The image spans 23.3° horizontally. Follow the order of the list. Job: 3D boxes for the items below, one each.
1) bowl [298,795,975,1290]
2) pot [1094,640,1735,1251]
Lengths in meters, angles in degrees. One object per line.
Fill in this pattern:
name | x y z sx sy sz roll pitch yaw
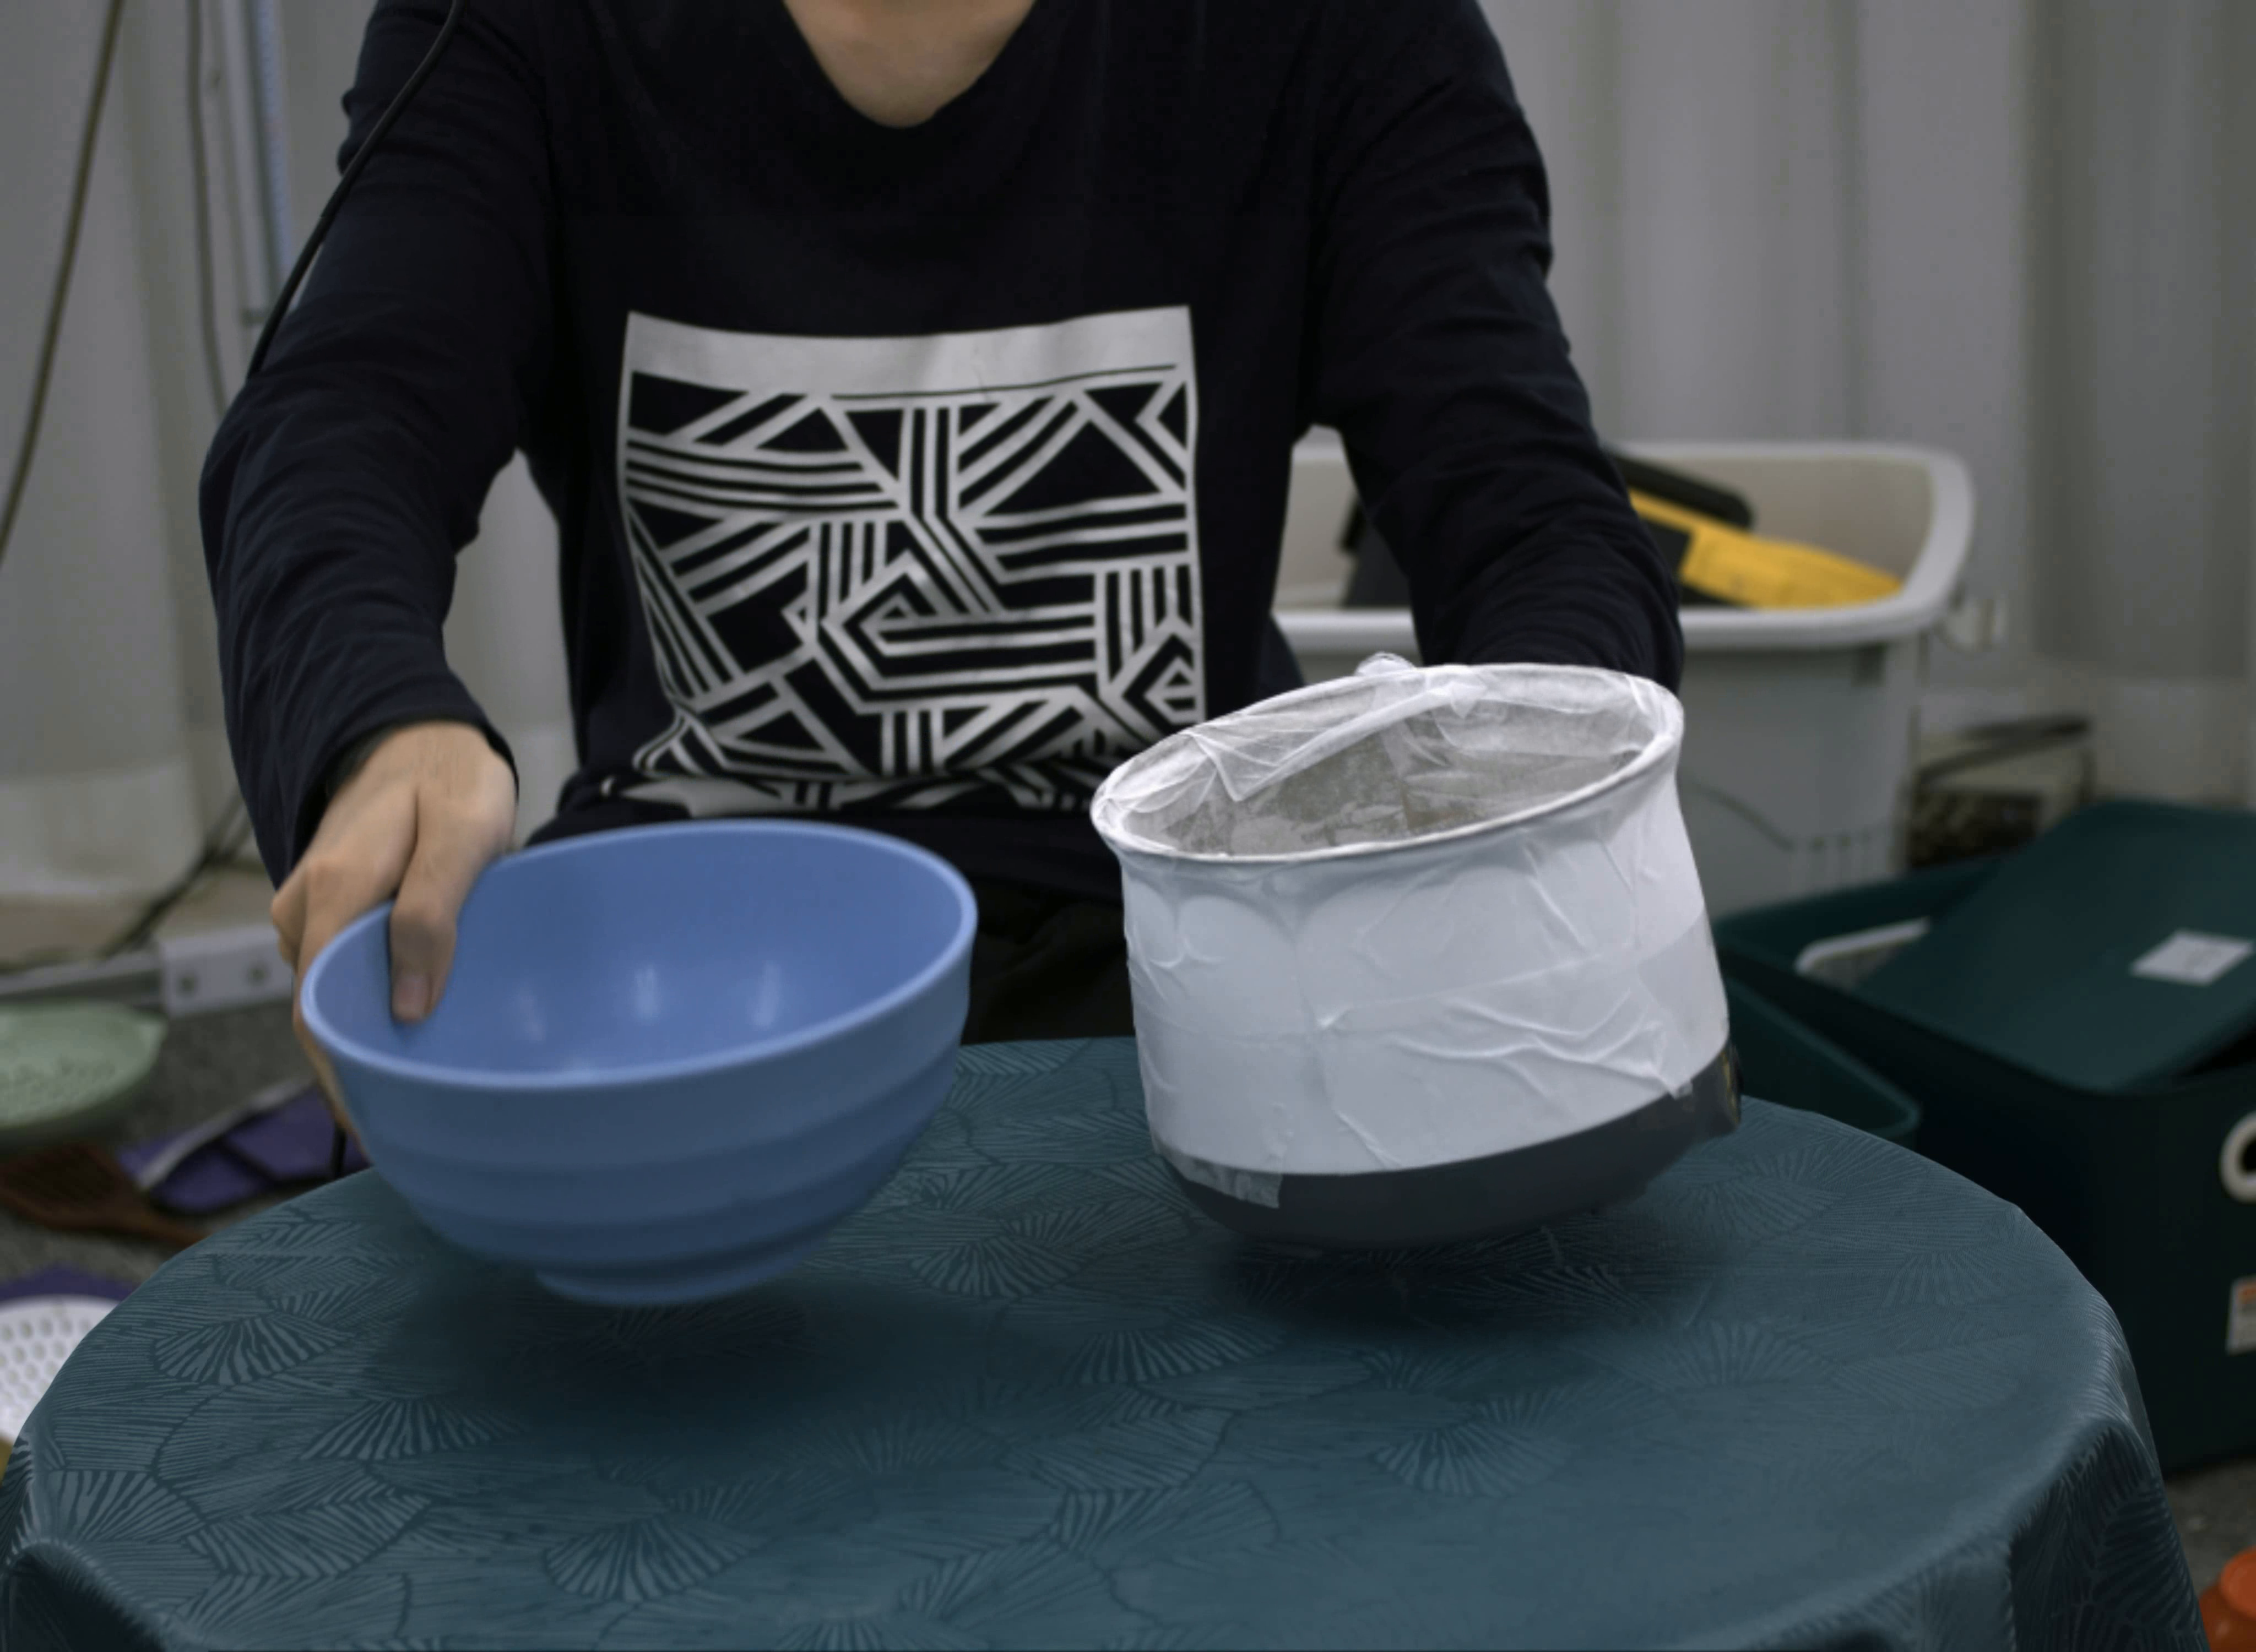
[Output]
bowl | -0.136 0.072 1.588 0.196 0.095 0.198 -6 23 2
pot | 0.086 0.030 1.647 0.178 0.136 0.235 -7 17 2
